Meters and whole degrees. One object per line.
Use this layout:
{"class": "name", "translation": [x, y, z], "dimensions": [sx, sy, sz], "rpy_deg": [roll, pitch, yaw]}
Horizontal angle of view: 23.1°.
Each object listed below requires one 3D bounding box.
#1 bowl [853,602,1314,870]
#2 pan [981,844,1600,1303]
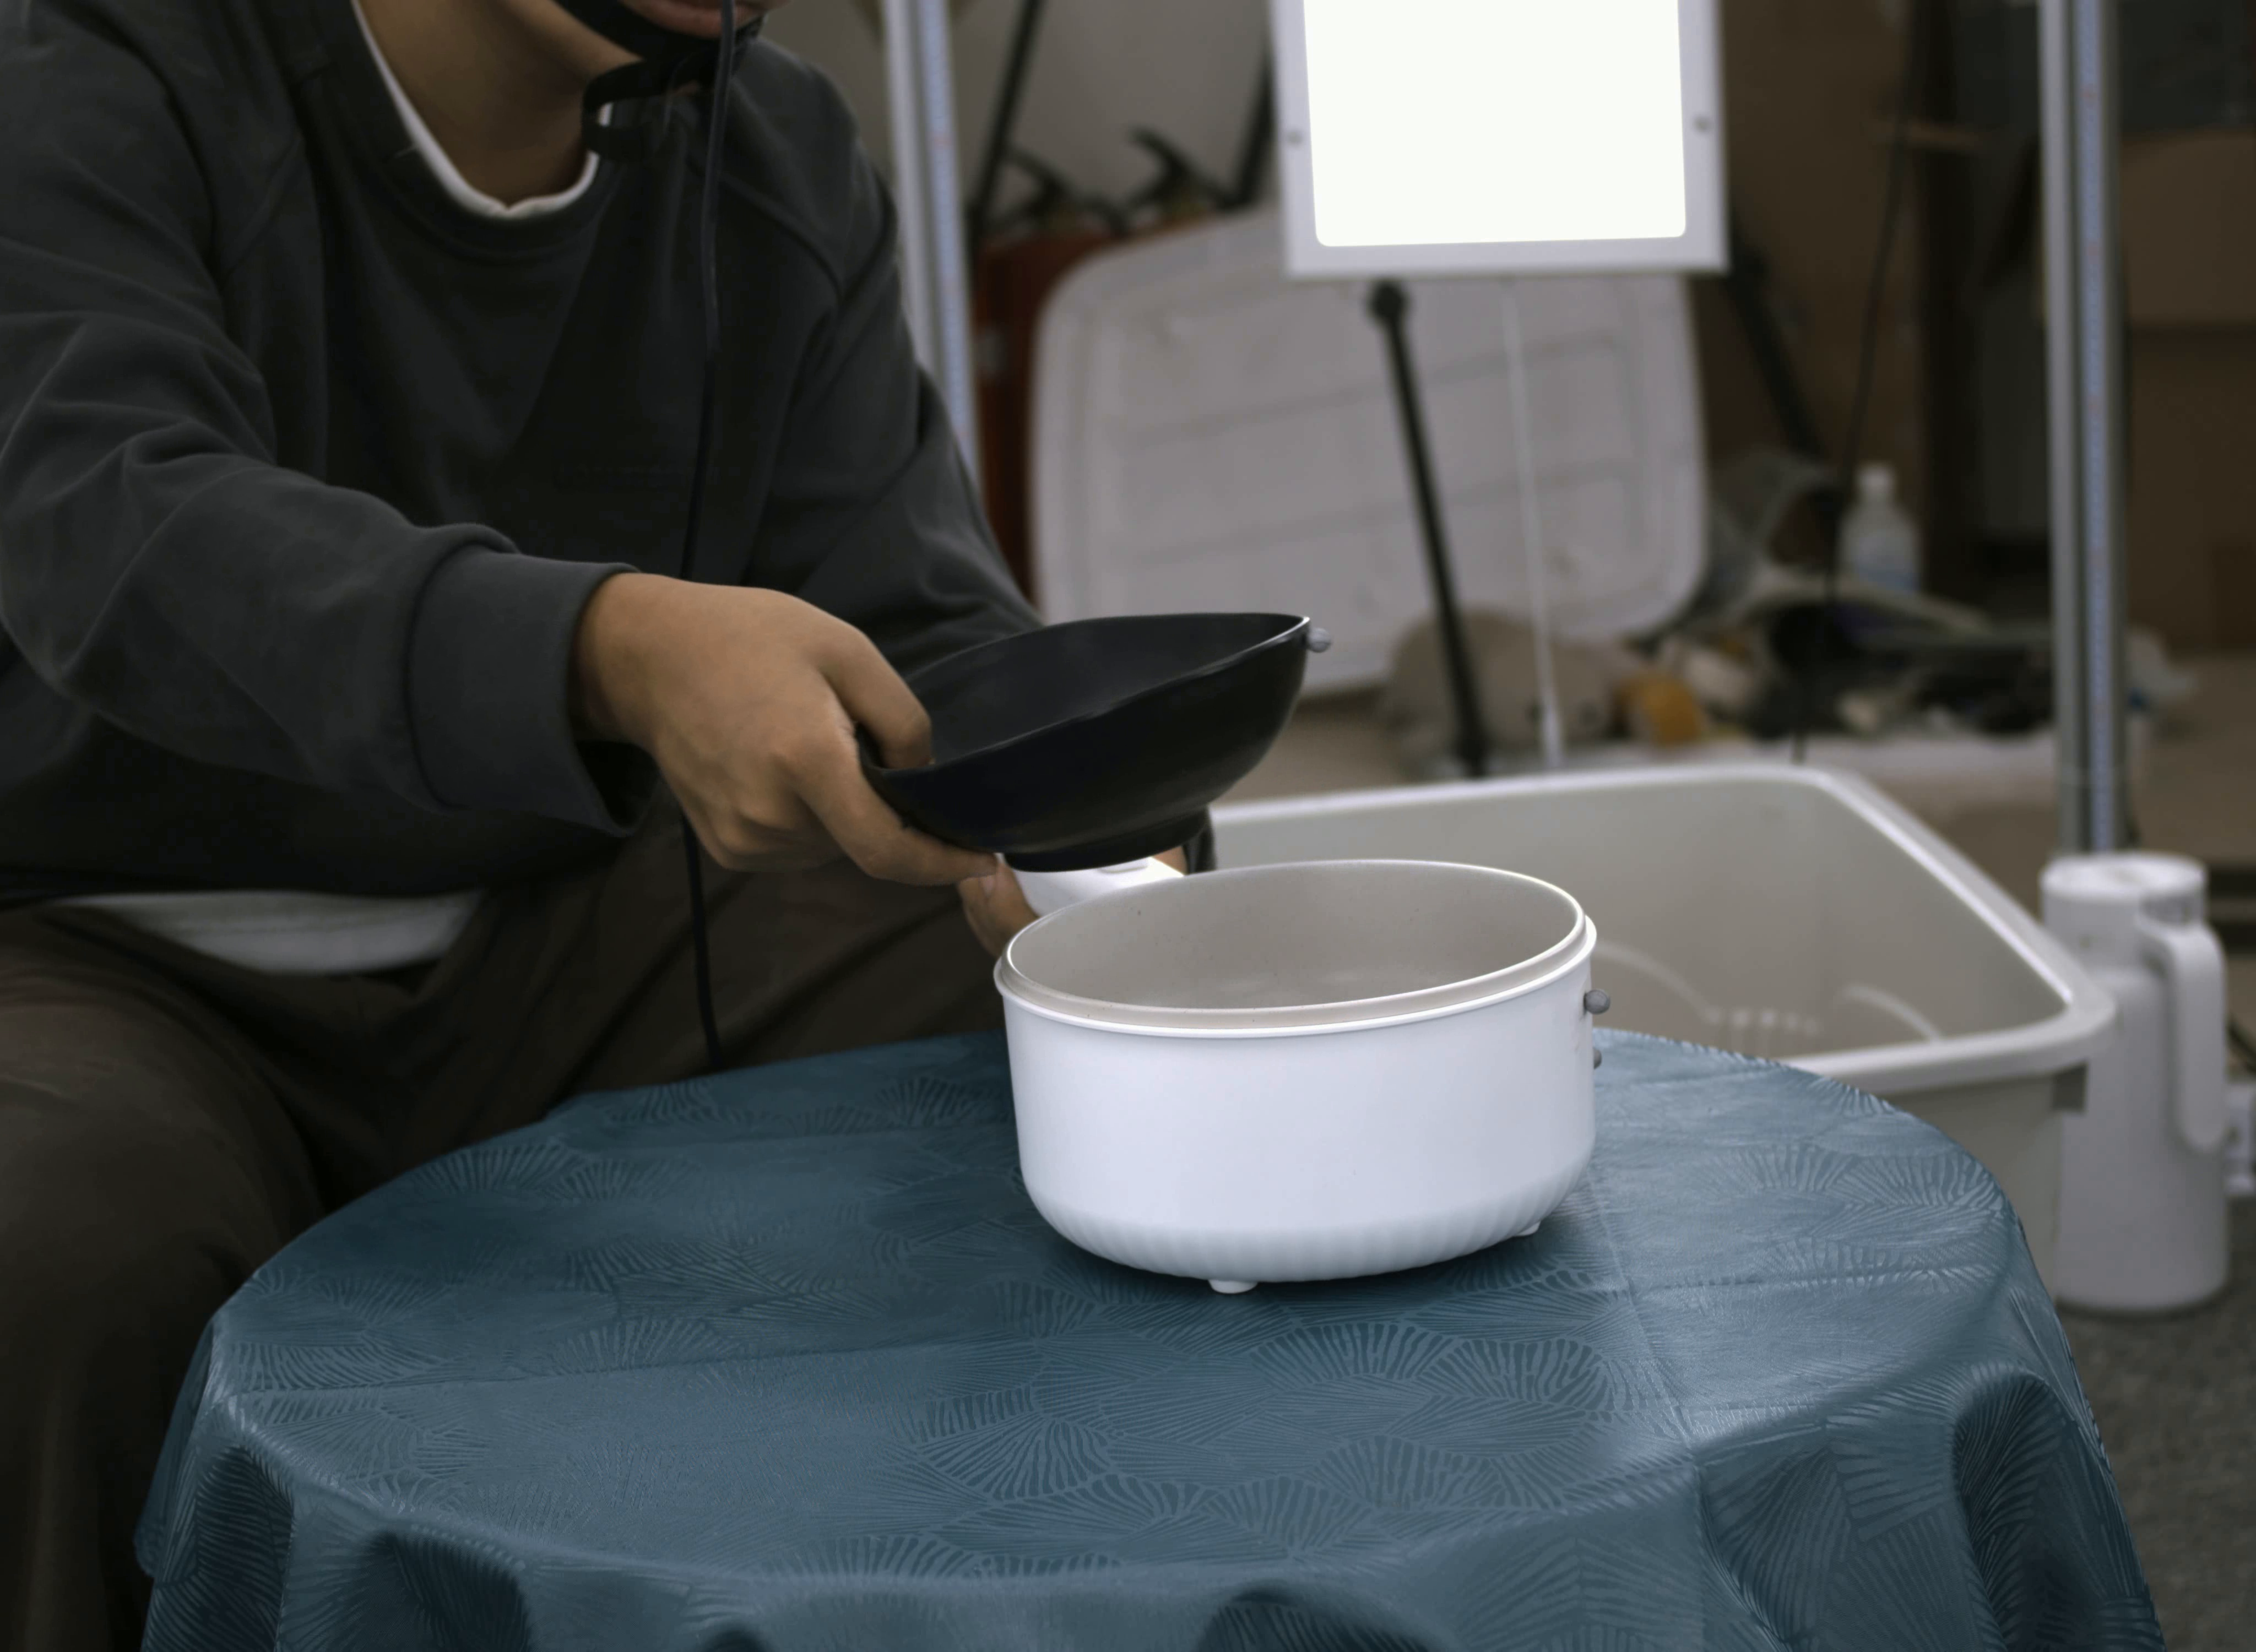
{"class": "bowl", "translation": [-0.009, -0.026, 1.822], "dimensions": [0.166, 0.067, 0.140], "rpy_deg": [-23, 17, -38]}
{"class": "pan", "translation": [0.031, 0.076, 1.910], "dimensions": [0.198, 0.102, 0.360], "rpy_deg": [-12, 13, -20]}
